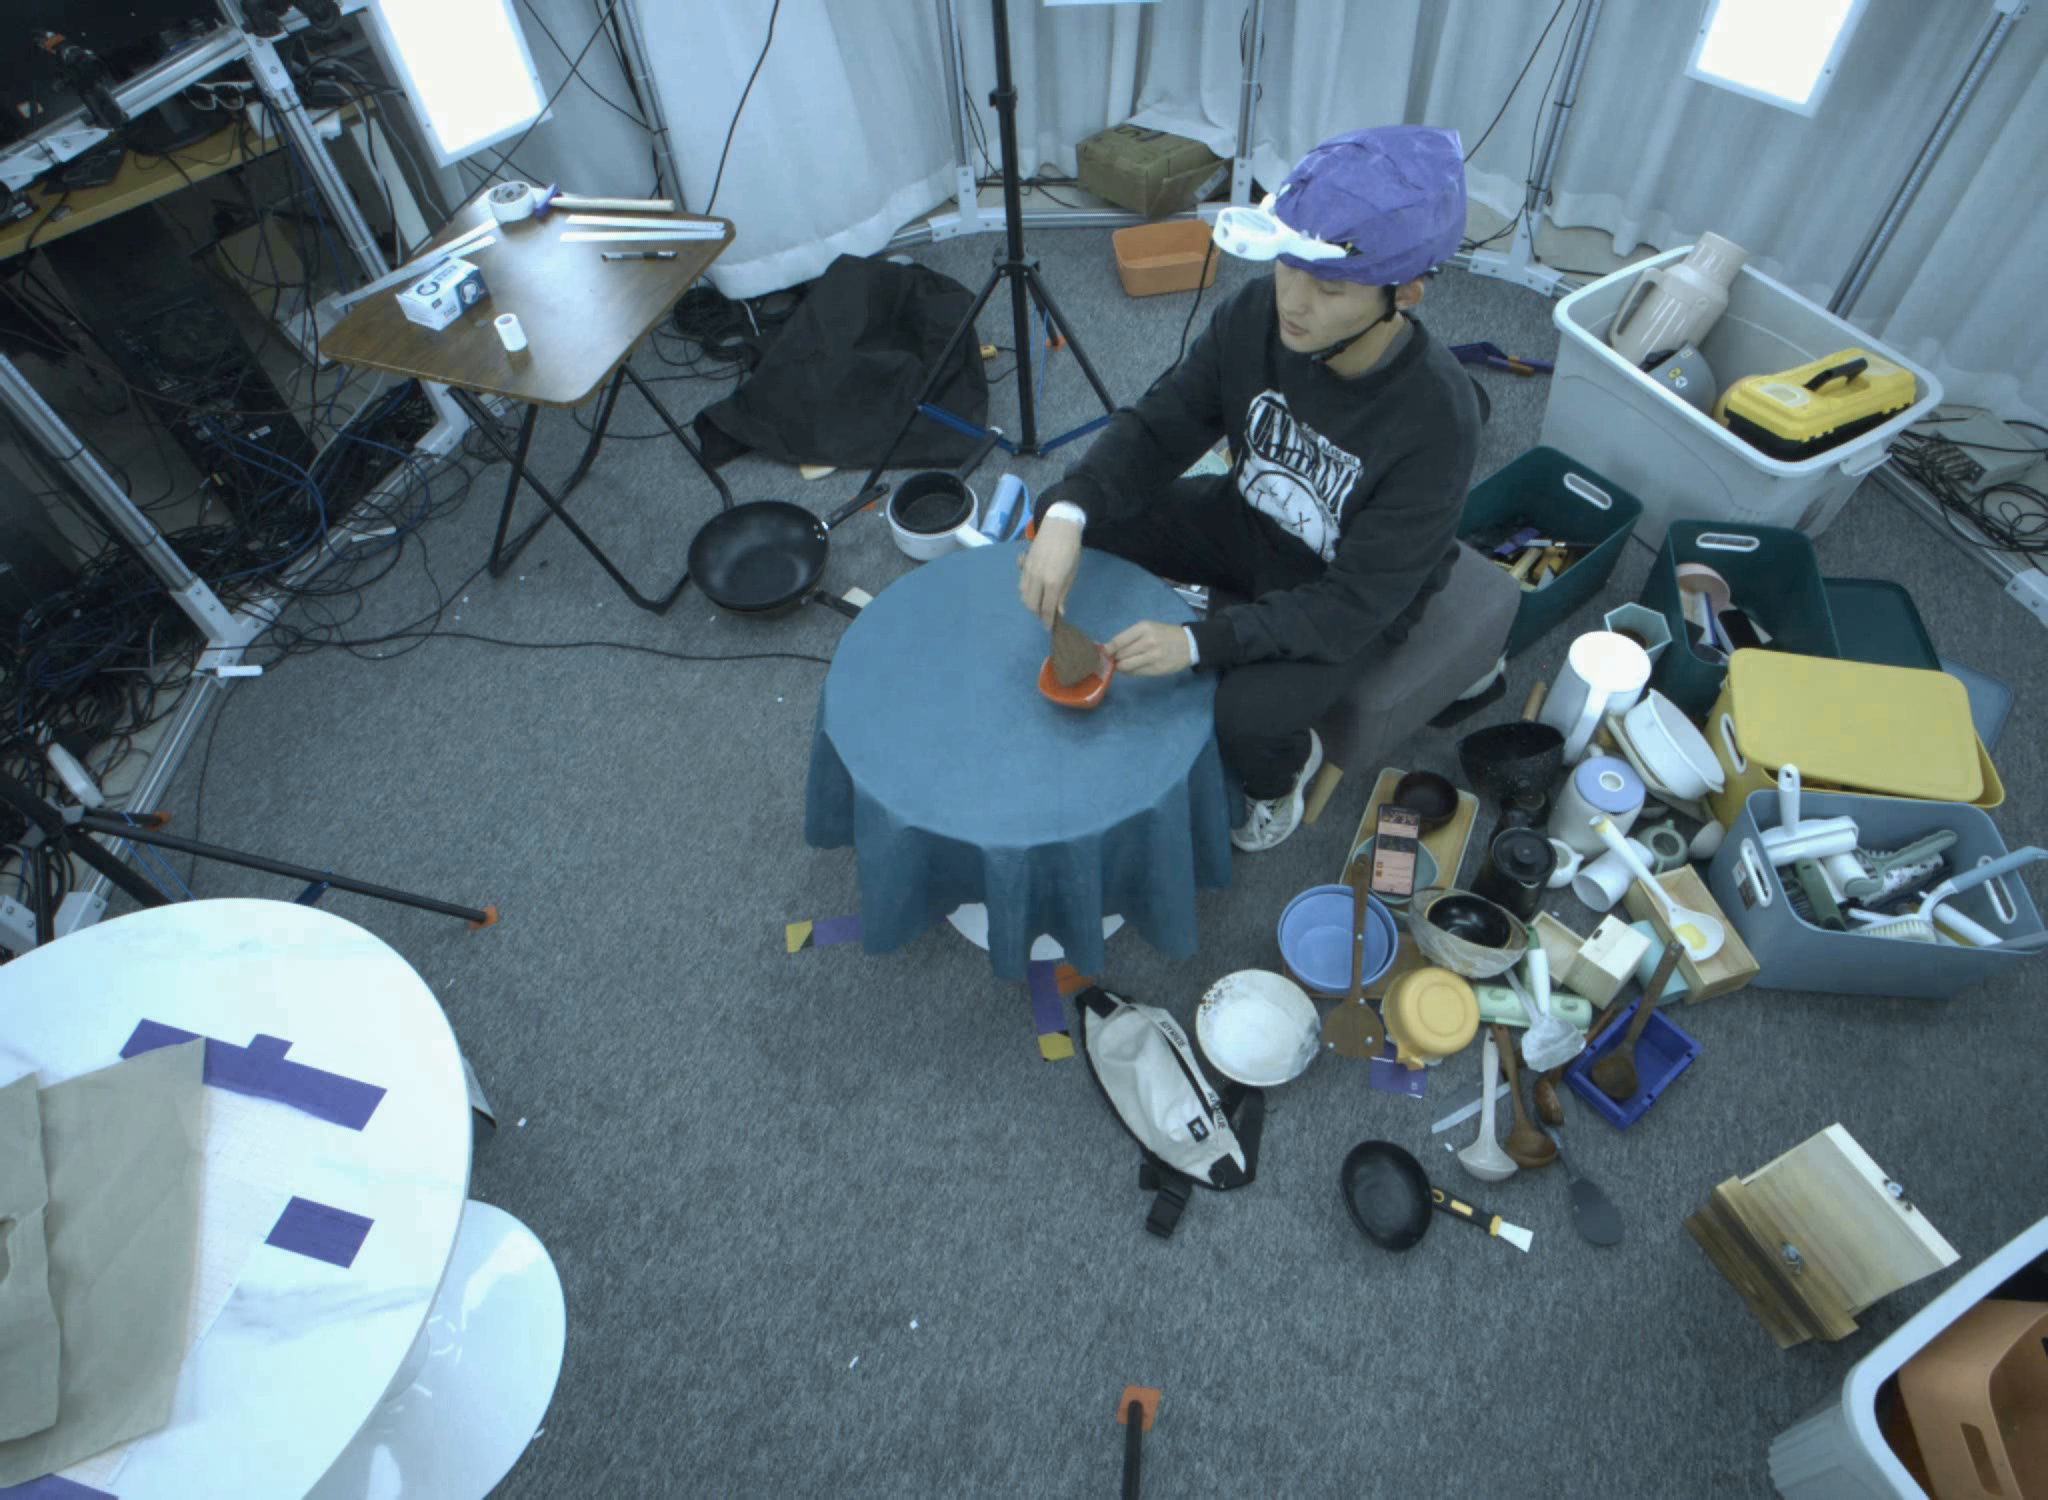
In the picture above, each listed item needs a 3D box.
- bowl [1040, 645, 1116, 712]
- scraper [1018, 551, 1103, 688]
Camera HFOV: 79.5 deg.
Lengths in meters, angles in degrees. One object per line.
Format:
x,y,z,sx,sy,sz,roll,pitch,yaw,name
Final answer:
0.087,-0.099,1.823,0.118,0.052,0.118,-11,54,16,bowl
0.044,-0.196,1.813,0.075,0.011,0.211,-26,88,20,scraper
